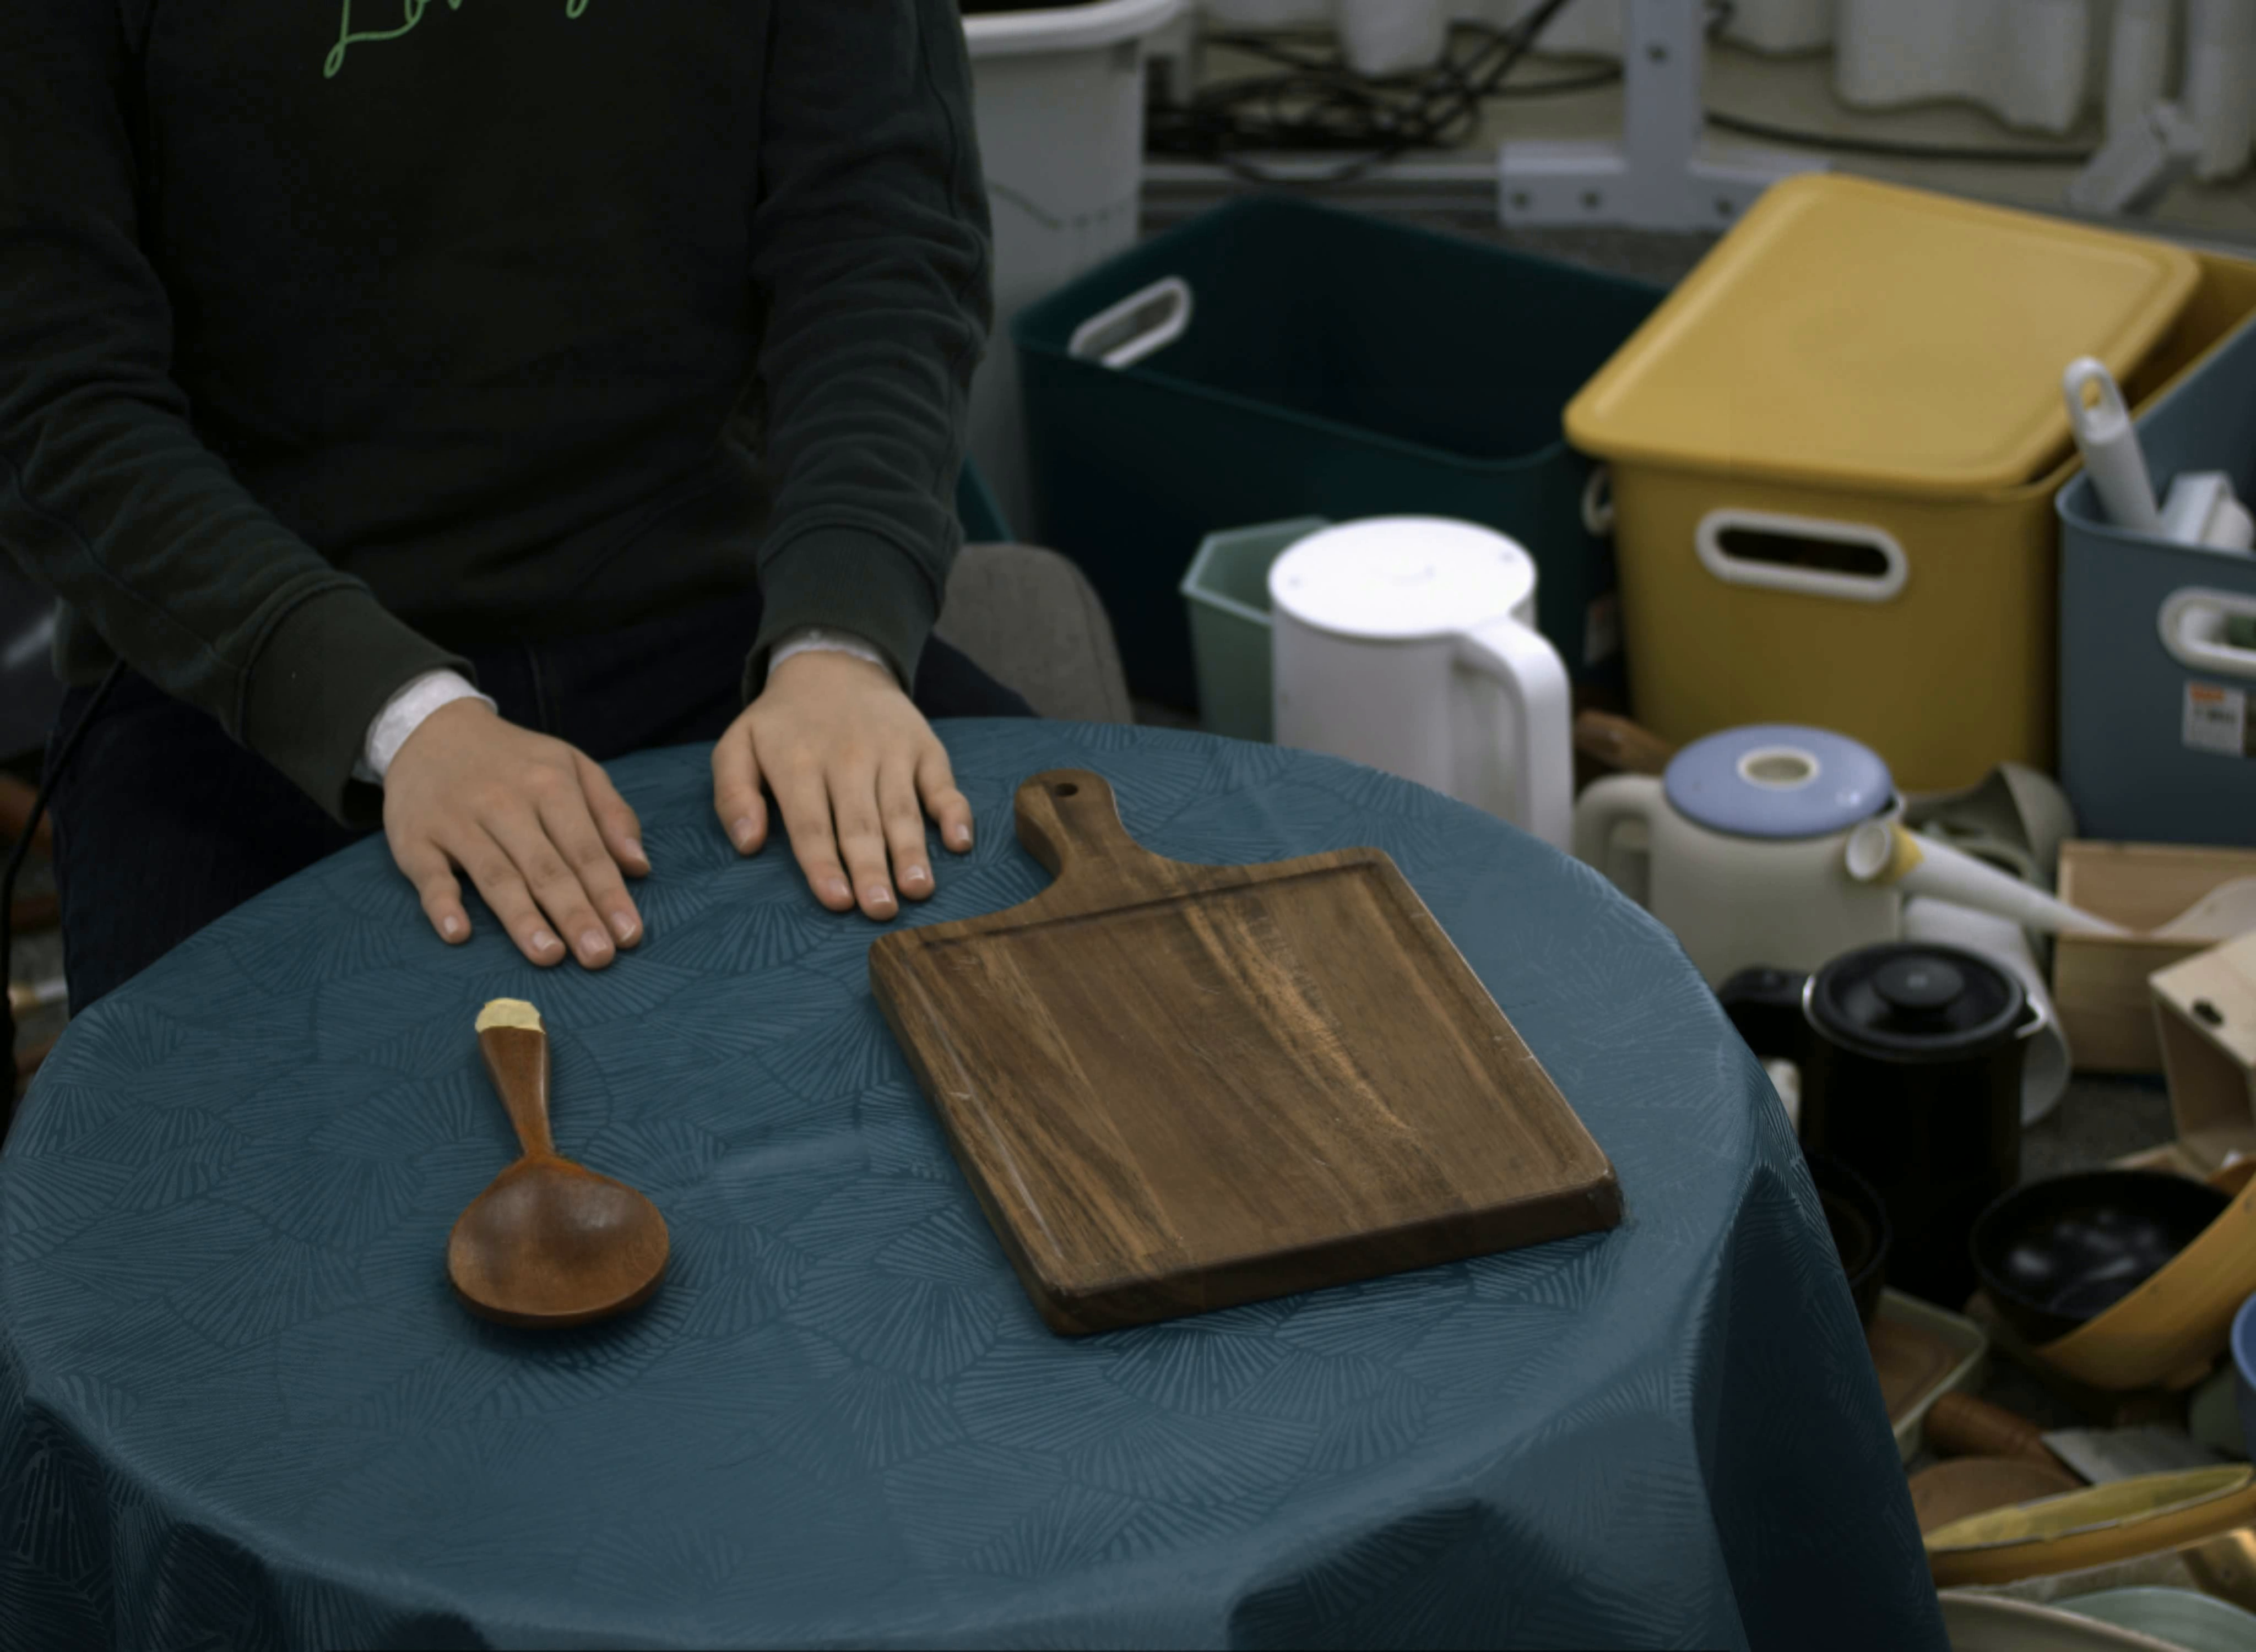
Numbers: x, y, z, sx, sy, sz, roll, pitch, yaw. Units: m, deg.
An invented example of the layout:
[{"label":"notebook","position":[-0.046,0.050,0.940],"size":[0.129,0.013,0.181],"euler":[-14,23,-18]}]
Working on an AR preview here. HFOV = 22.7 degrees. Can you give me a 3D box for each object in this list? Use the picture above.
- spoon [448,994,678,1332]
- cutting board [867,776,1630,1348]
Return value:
[{"label":"spoon","position":[-0.196,0.113,1.878],"size":[0.075,0.017,0.218],"euler":[-9,28,-8]},{"label":"cutting board","position":[0.022,0.066,1.950],"size":[0.201,0.023,0.355],"euler":[-11,28,-13]}]
